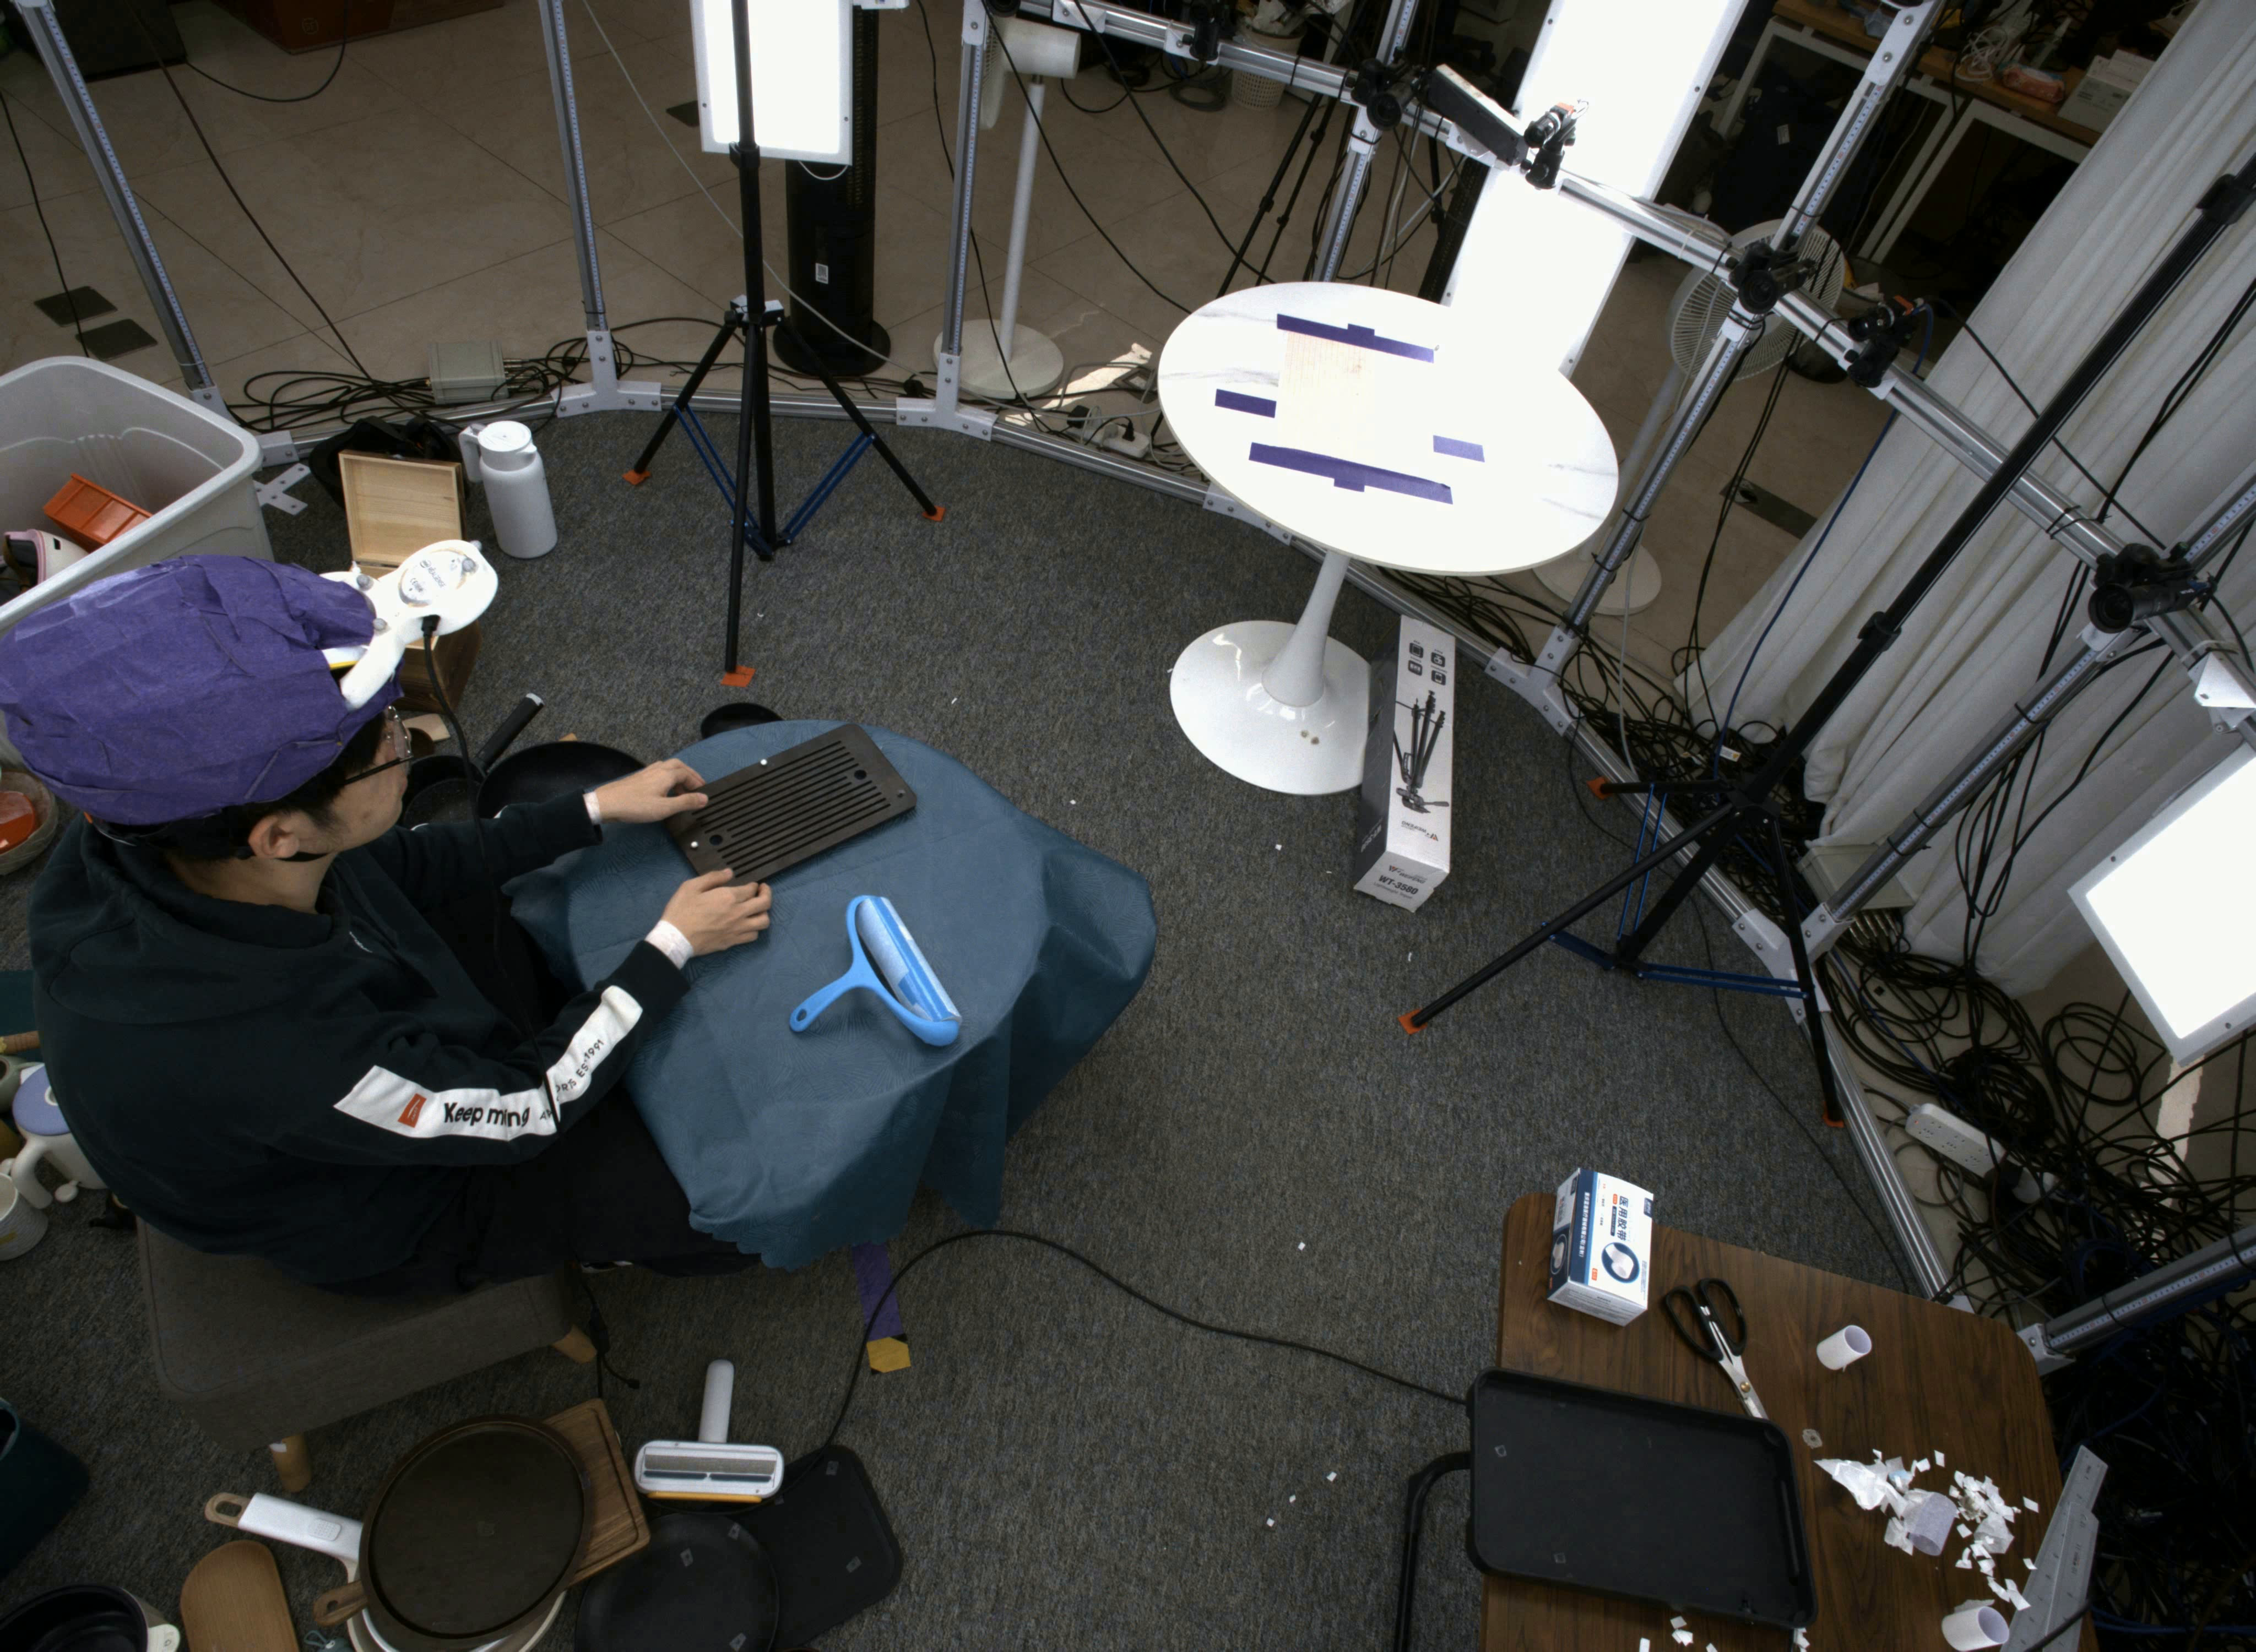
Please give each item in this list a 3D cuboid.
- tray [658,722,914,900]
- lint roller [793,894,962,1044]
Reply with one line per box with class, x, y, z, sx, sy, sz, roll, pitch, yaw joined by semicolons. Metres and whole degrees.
tray;-0.453;-0.025;1.729;0.307;0.019;0.166;-29;67;-31
lint roller;-0.322;0.193;1.576;0.181;0.069;0.224;-25;66;-30
